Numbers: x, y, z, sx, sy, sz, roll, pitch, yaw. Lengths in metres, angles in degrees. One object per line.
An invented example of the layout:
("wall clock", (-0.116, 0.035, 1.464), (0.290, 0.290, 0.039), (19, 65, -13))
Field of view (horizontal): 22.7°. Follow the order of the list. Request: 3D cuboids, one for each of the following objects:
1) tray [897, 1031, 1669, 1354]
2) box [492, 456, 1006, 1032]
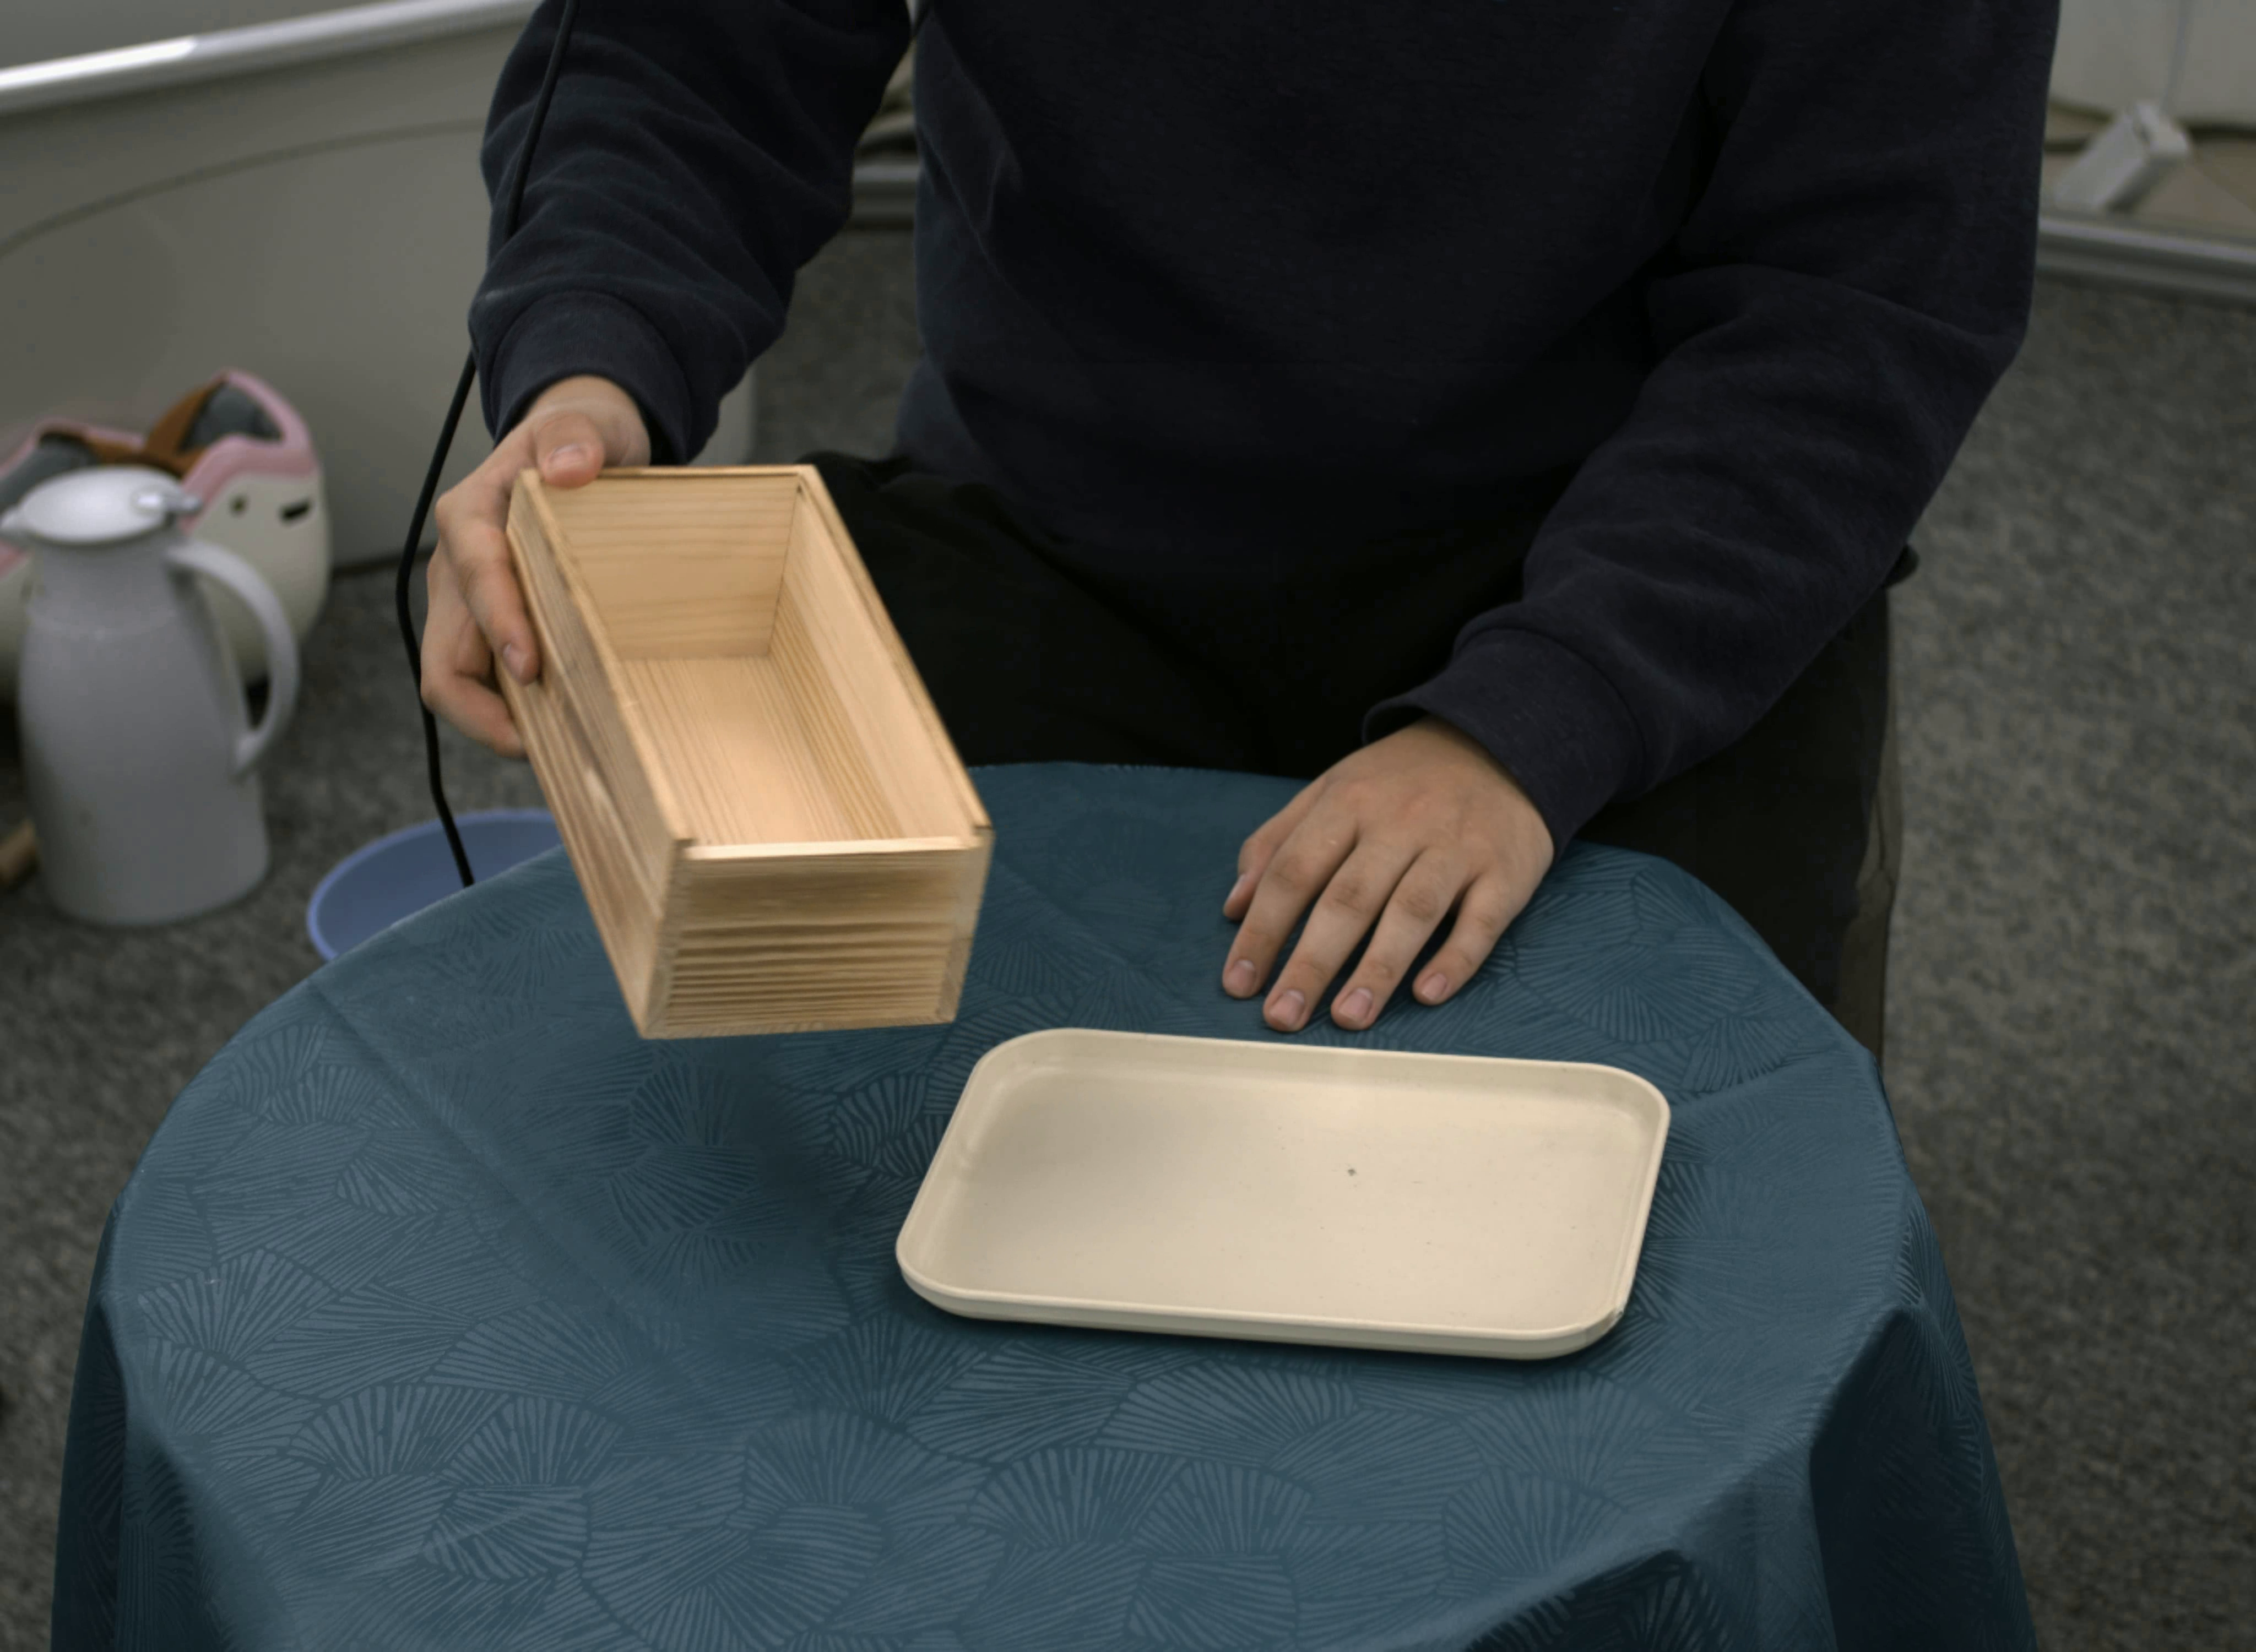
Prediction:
("tray", (0.053, 0.121, 1.843), (0.238, 0.017, 0.174), (3, 27, 11))
("box", (-0.128, -0.030, 1.846), (0.107, 0.079, 0.214), (-1, 37, -23))
